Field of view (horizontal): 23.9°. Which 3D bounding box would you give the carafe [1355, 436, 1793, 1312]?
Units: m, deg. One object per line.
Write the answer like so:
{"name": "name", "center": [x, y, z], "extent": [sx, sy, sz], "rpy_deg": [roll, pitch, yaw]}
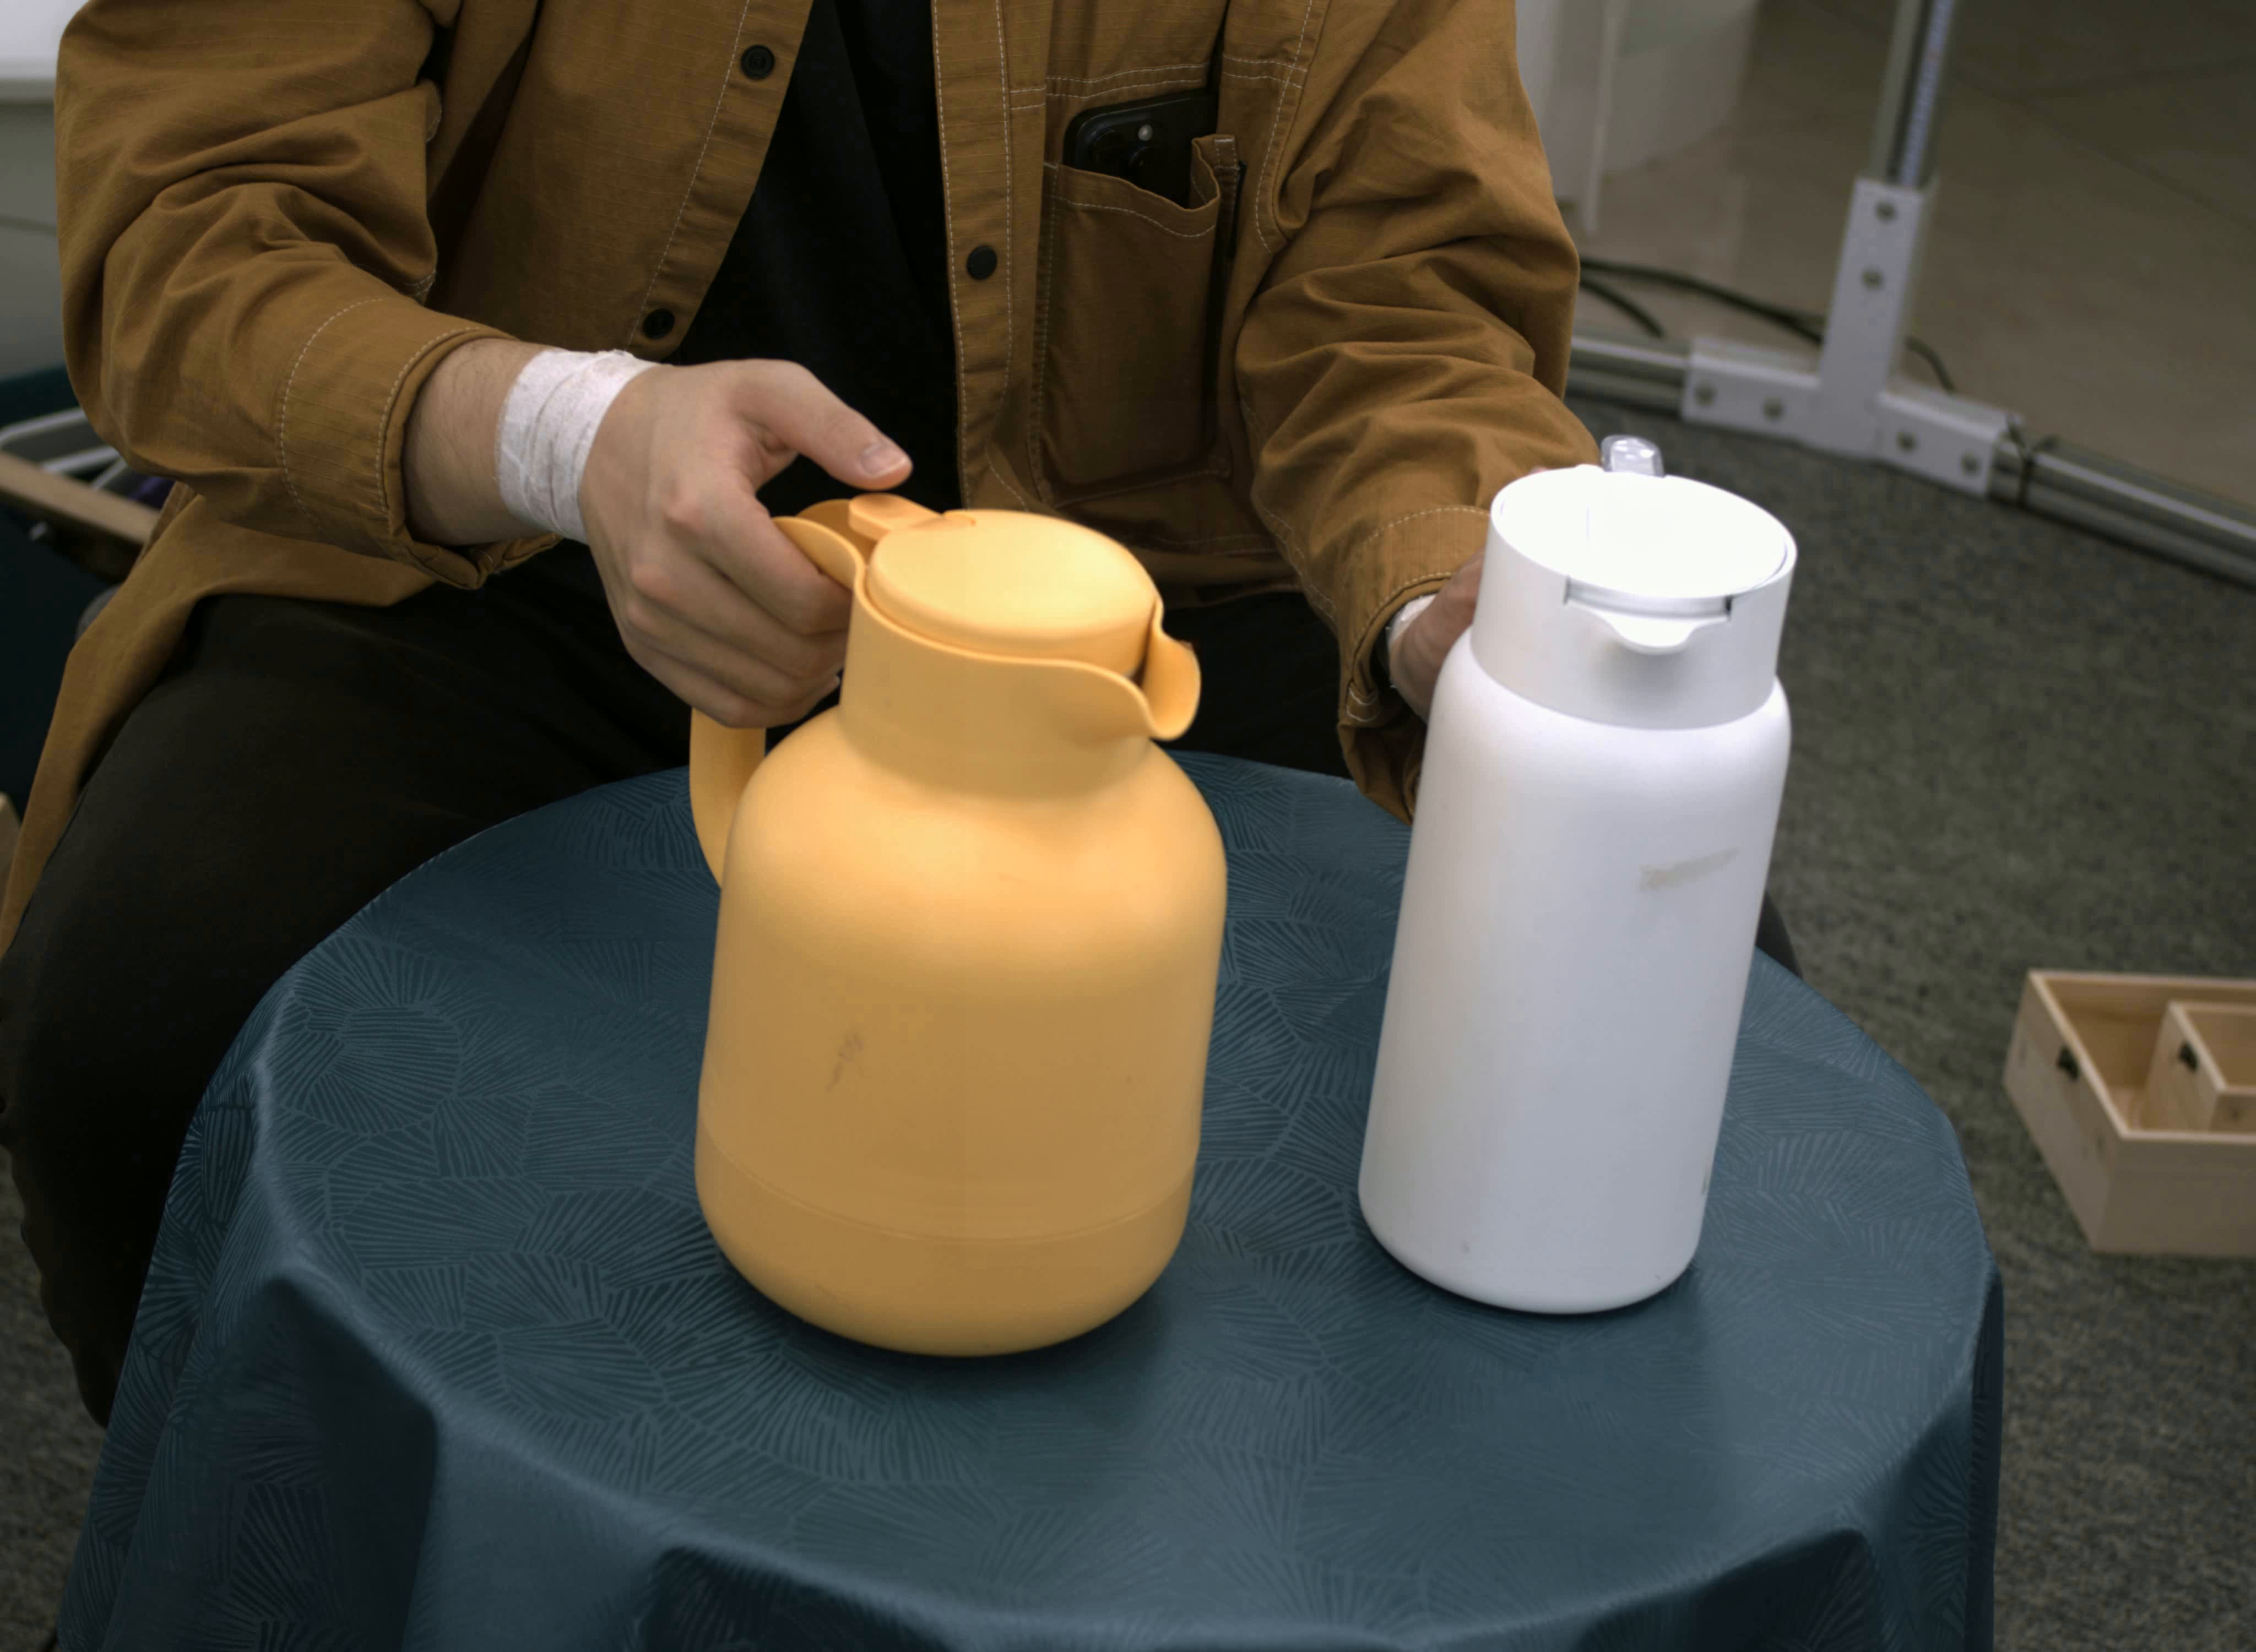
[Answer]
{"name": "carafe", "center": [0.147, 0.012, 1.763], "extent": [0.123, 0.268, 0.174], "rpy_deg": [4, 26, -1]}

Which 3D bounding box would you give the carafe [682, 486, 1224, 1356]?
{"name": "carafe", "center": [-0.064, 0.020, 1.705], "extent": [0.162, 0.260, 0.204], "rpy_deg": [-16, 35, -43]}
